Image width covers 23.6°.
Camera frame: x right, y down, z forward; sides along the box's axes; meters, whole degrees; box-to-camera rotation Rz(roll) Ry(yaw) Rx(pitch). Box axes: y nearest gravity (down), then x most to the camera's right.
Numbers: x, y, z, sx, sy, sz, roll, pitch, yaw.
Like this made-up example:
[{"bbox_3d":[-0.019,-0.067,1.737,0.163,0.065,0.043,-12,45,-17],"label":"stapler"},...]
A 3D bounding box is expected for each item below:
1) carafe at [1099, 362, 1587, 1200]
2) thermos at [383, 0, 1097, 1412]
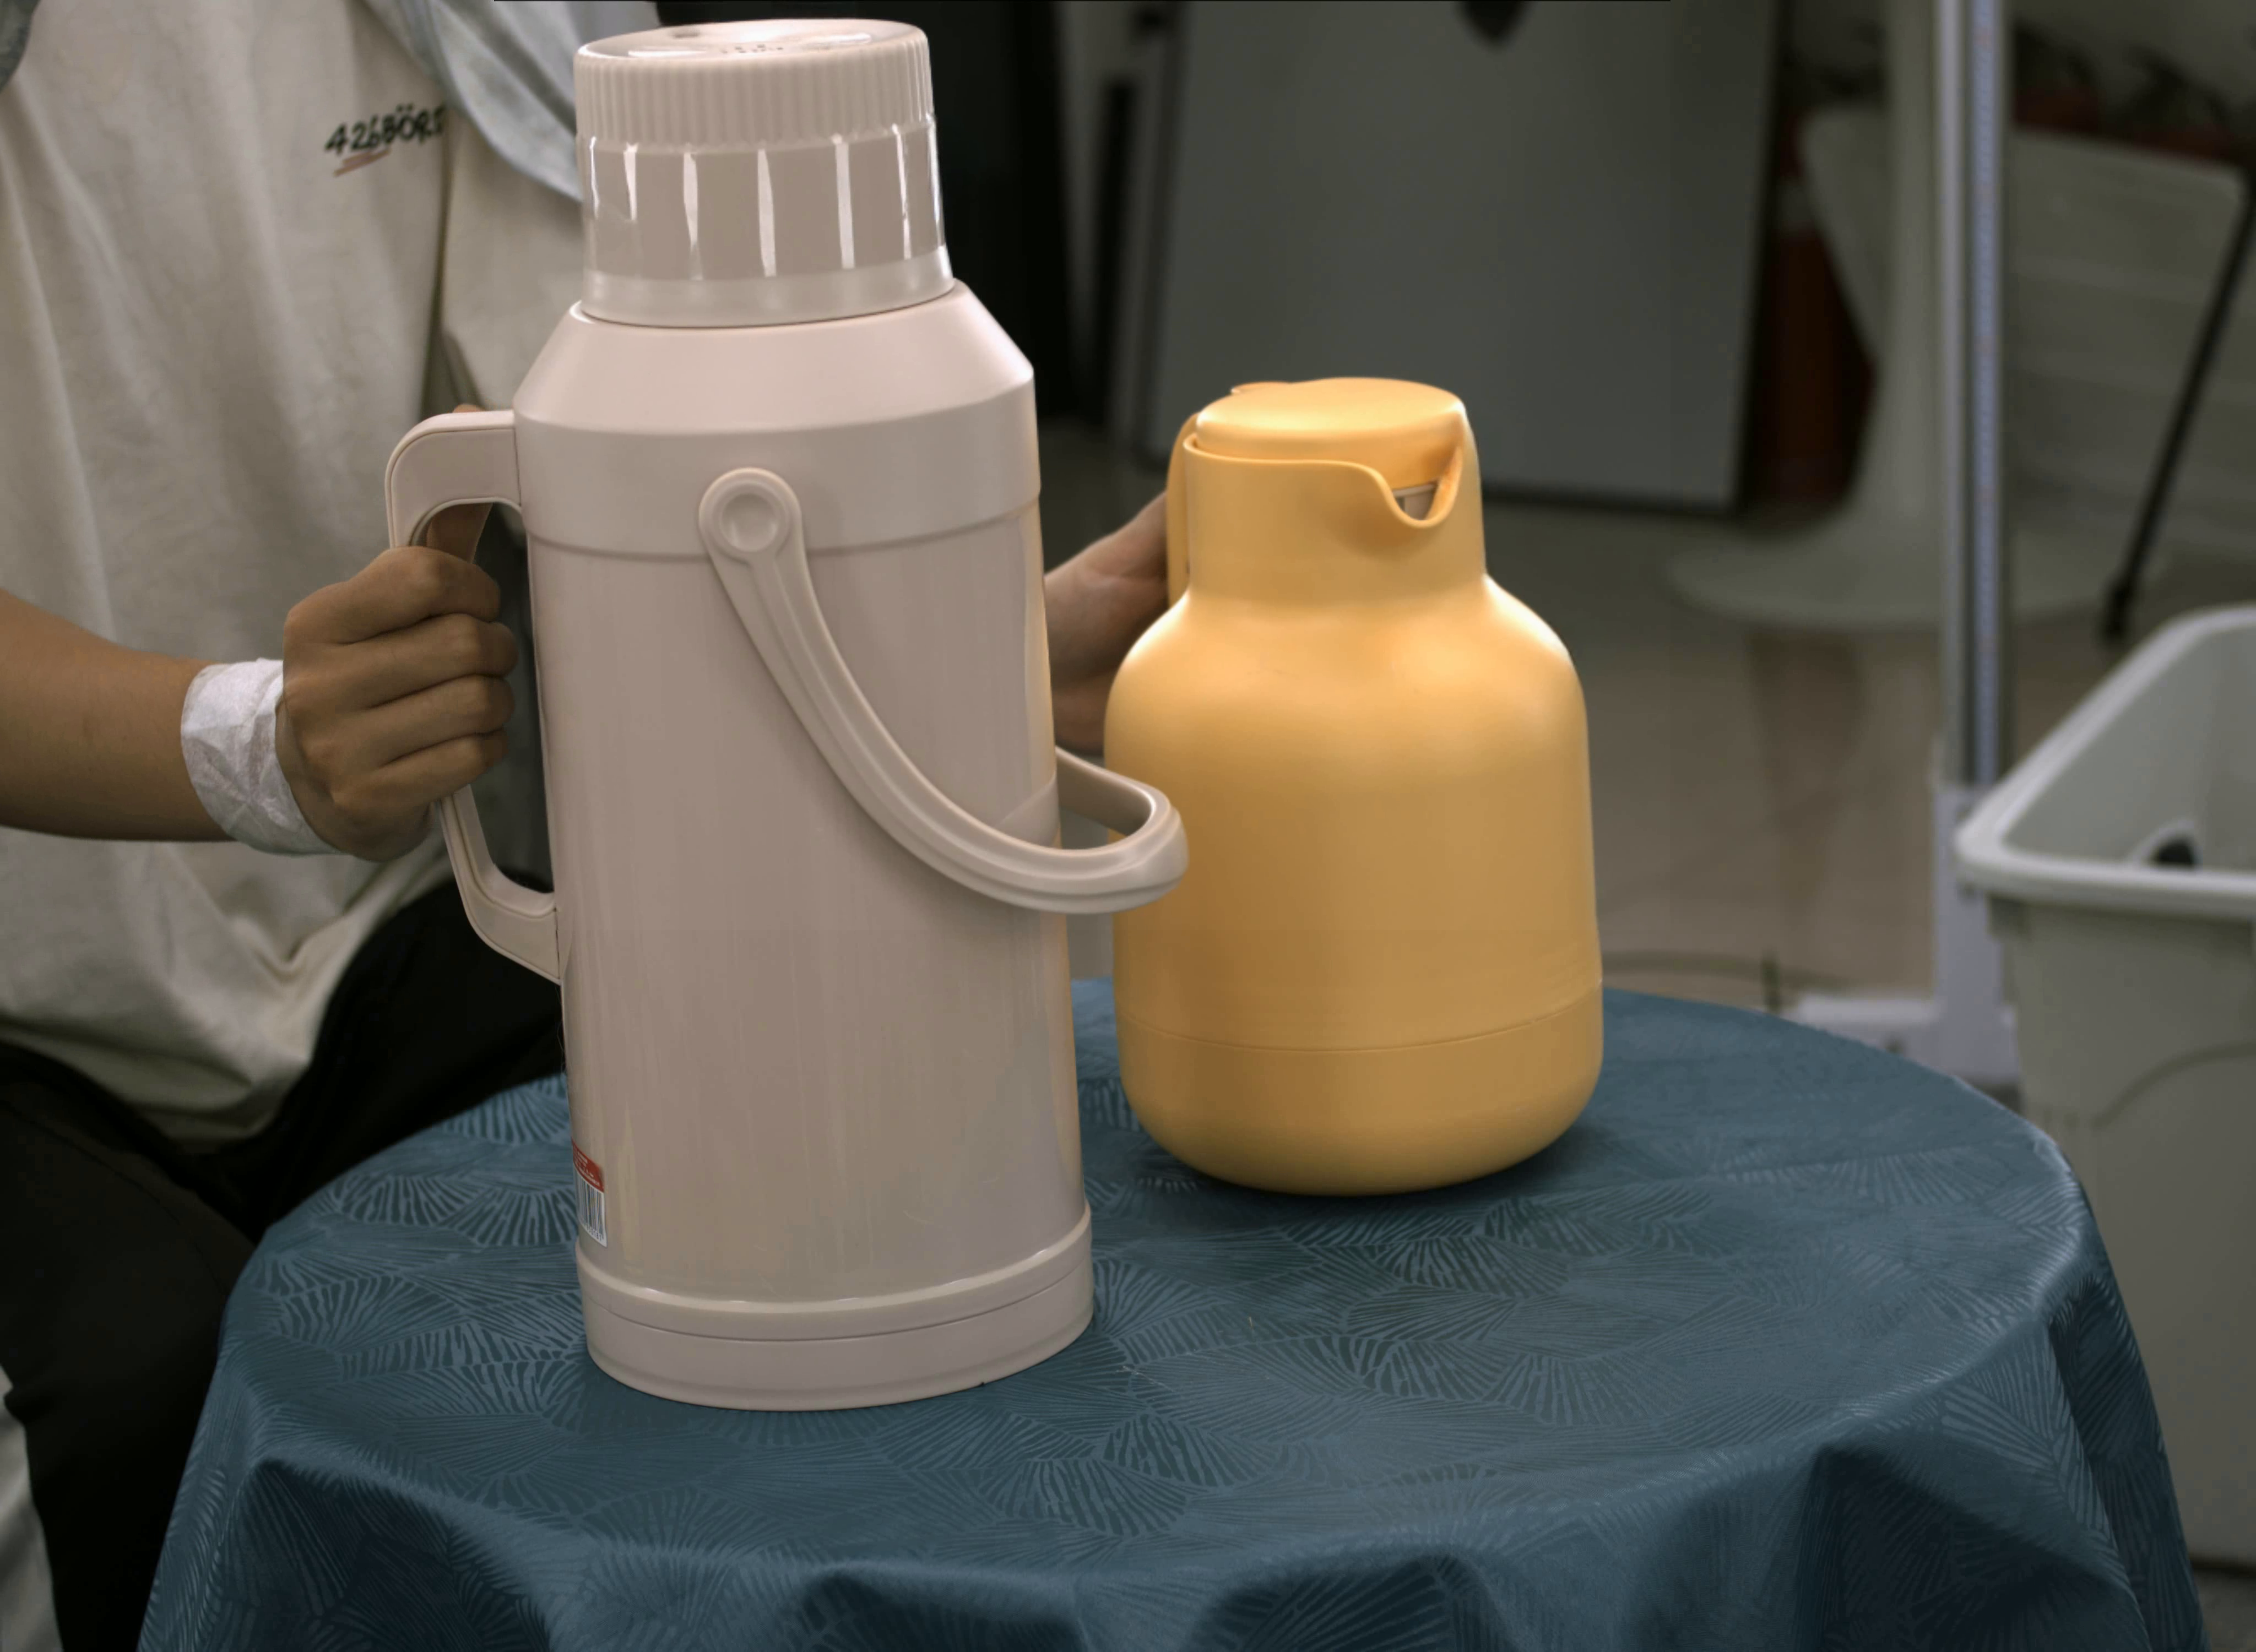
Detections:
[{"bbox_3d":[0.065,-0.023,1.790,0.160,0.263,0.204,-5,15,-18],"label":"carafe"},{"bbox_3d":[-0.114,-0.039,1.622,0.205,0.411,0.175,-2,14,4],"label":"thermos"}]
